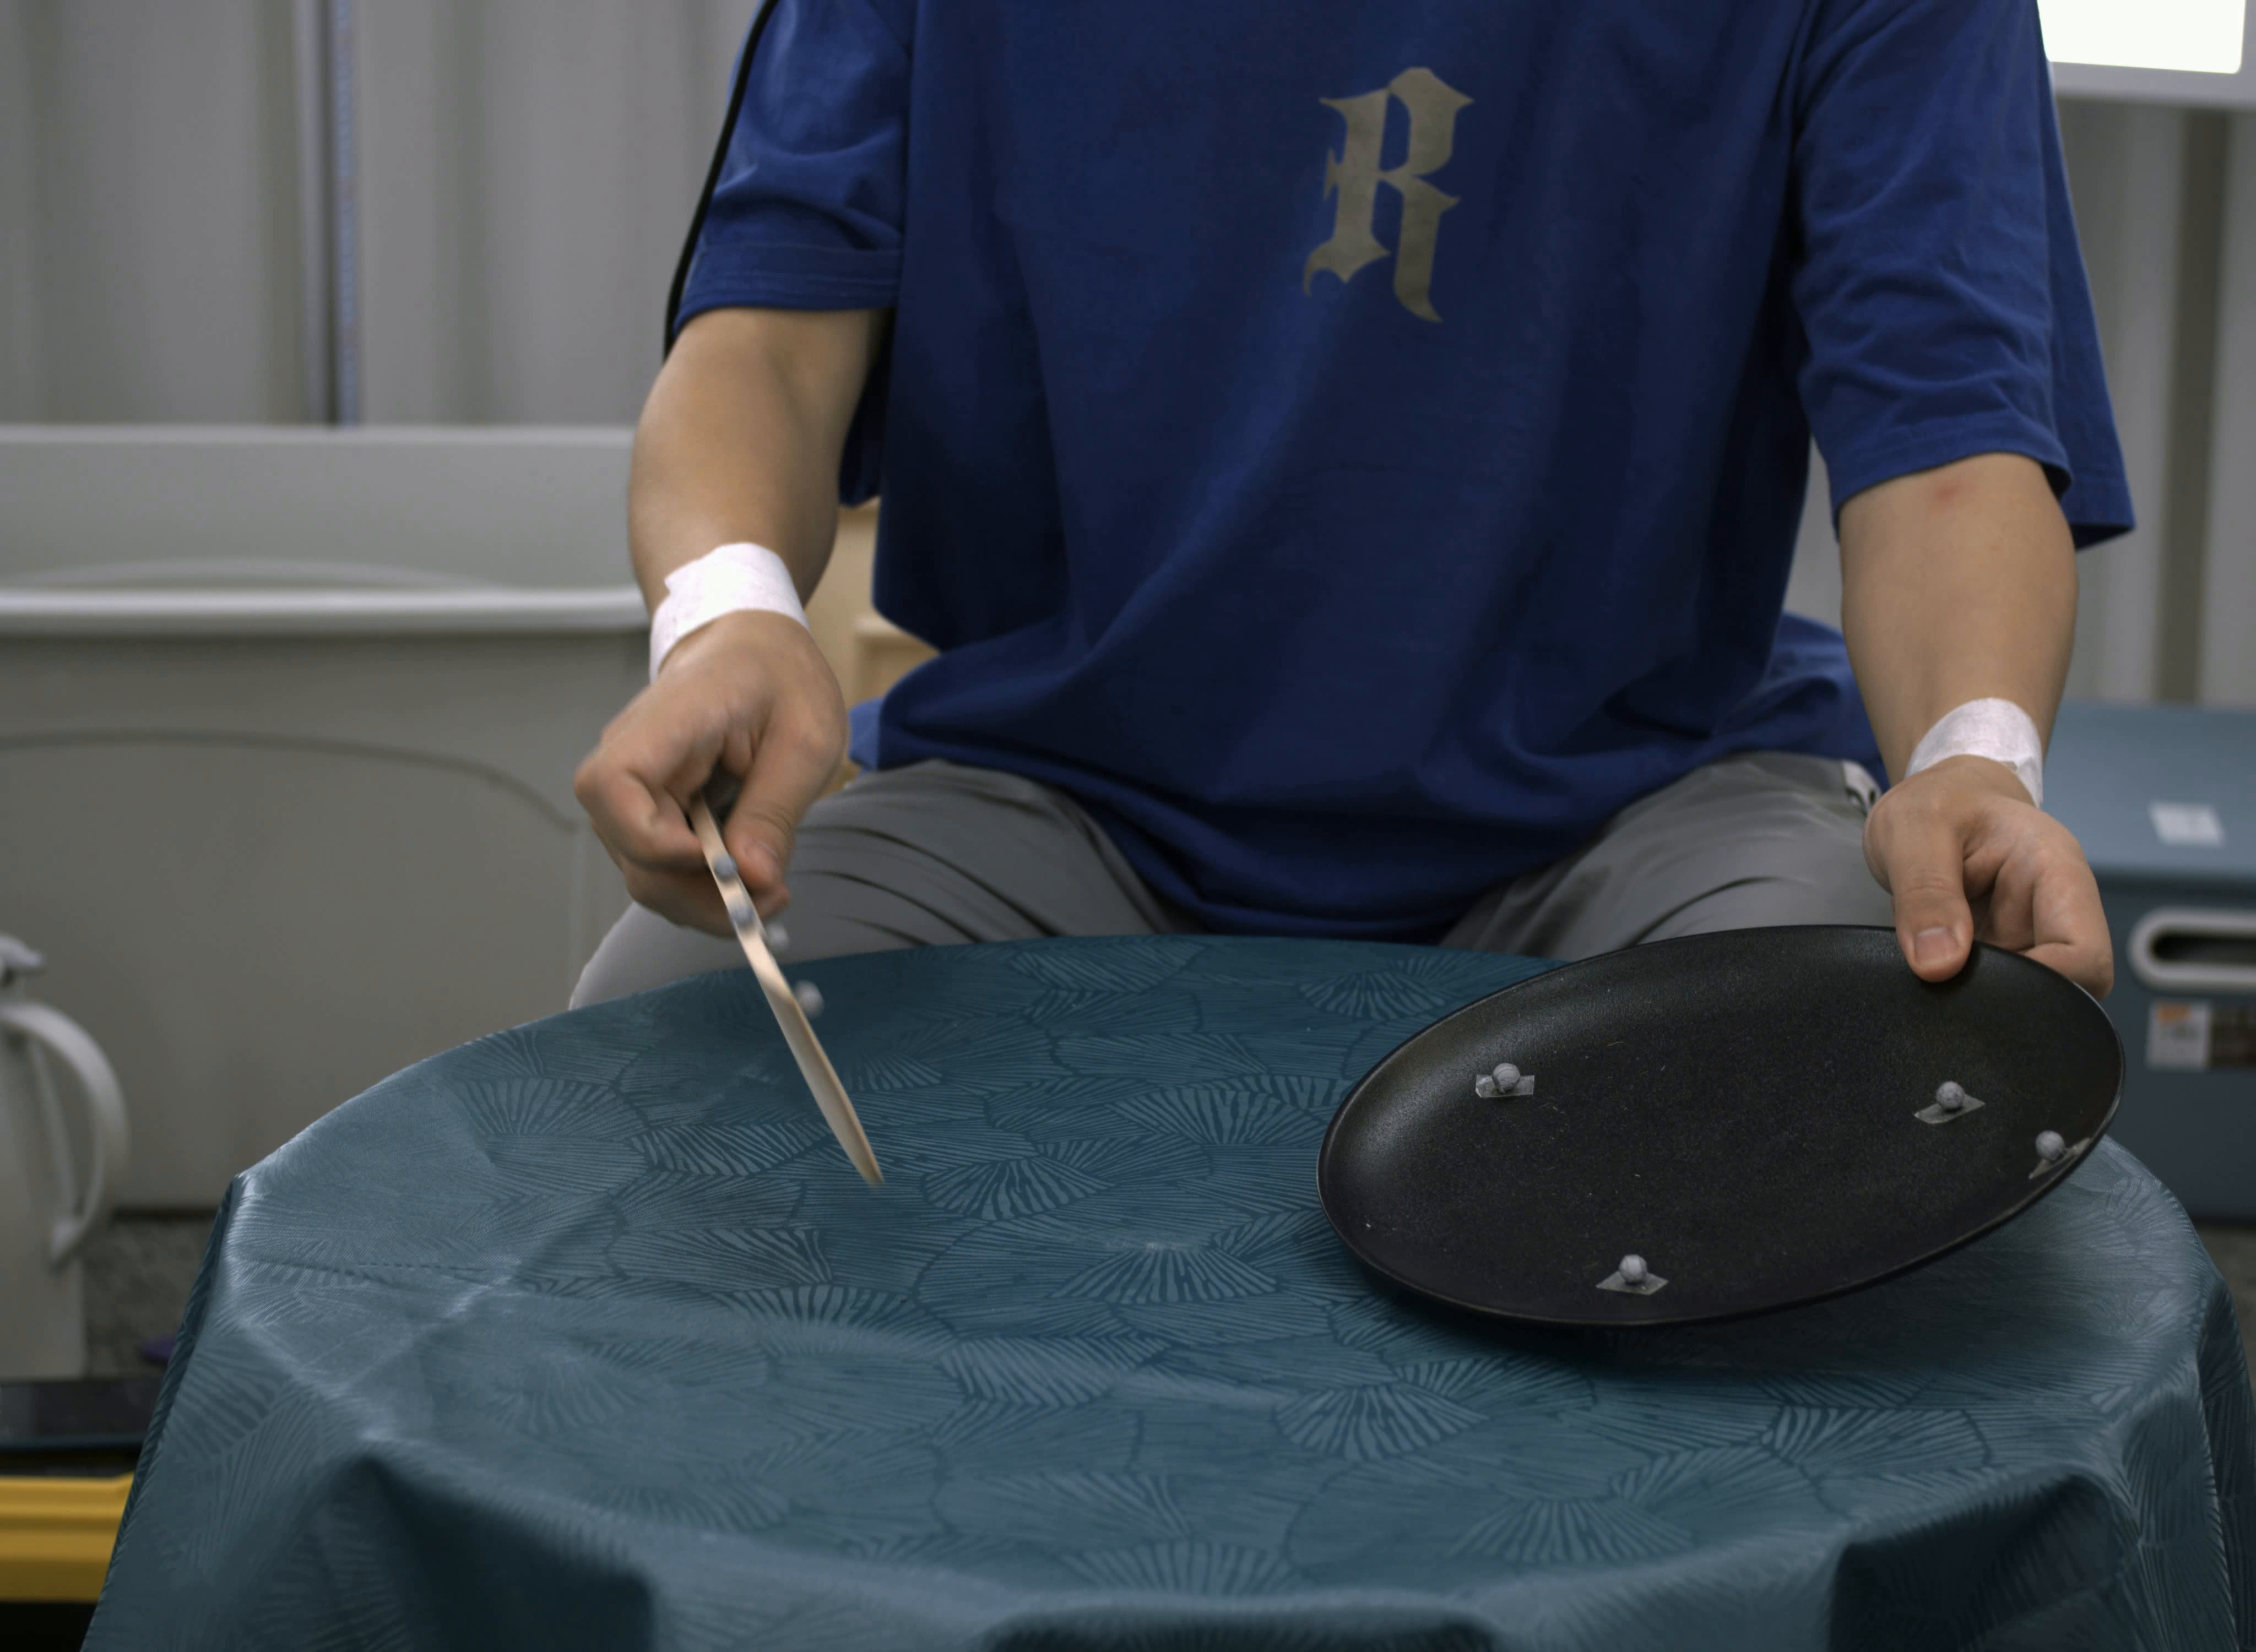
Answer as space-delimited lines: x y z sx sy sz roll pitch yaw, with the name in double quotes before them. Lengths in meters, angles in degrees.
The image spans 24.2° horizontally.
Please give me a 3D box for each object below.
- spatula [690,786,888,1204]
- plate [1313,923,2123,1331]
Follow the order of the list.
"spatula" -0.115 0.039 1.652 0.010 0.073 0.290 -28 21 -2
"plate" 0.176 0.093 1.573 0.243 0.024 0.242 -10 24 5
